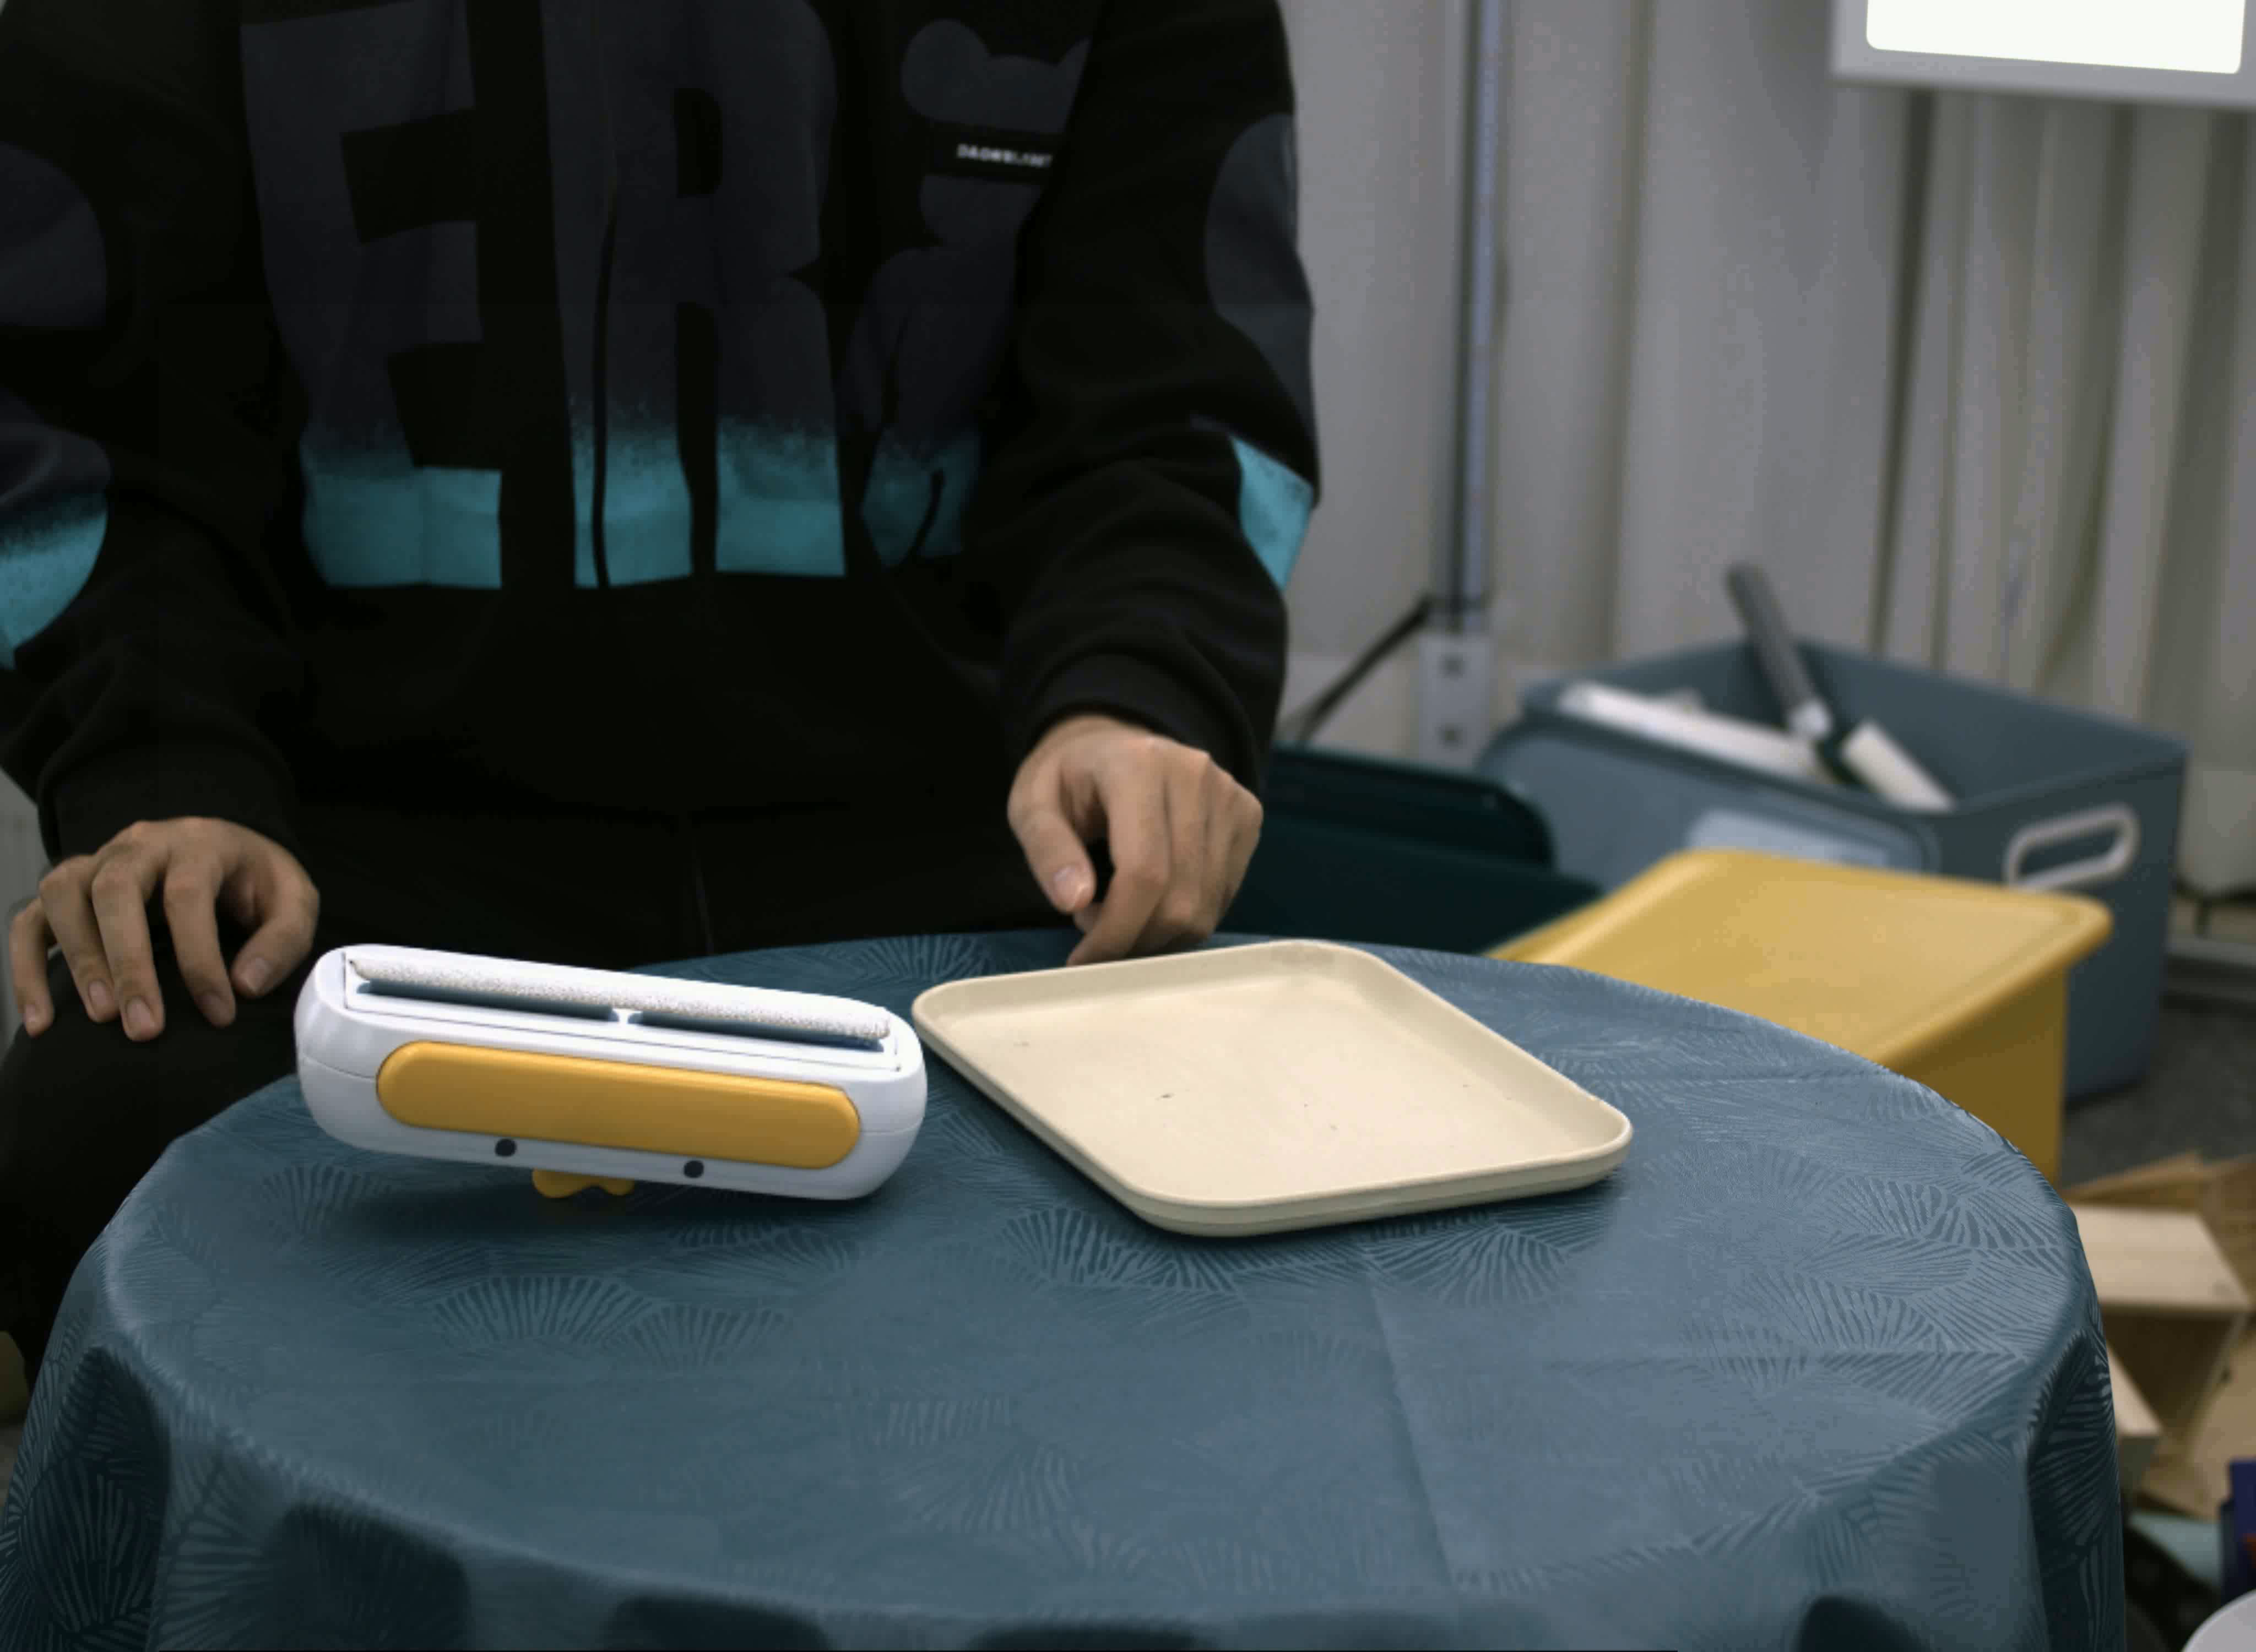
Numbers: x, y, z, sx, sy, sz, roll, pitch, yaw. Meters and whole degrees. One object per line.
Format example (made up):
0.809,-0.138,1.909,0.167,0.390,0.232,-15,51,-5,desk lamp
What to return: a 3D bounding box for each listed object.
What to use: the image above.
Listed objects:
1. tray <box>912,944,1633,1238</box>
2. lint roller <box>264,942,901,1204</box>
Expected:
0.042,0.084,1.692,0.172,0.017,0.237,-6,17,-22,tray
-0.172,0.067,1.651,0.193,0.075,0.191,4,13,-8,lint roller
